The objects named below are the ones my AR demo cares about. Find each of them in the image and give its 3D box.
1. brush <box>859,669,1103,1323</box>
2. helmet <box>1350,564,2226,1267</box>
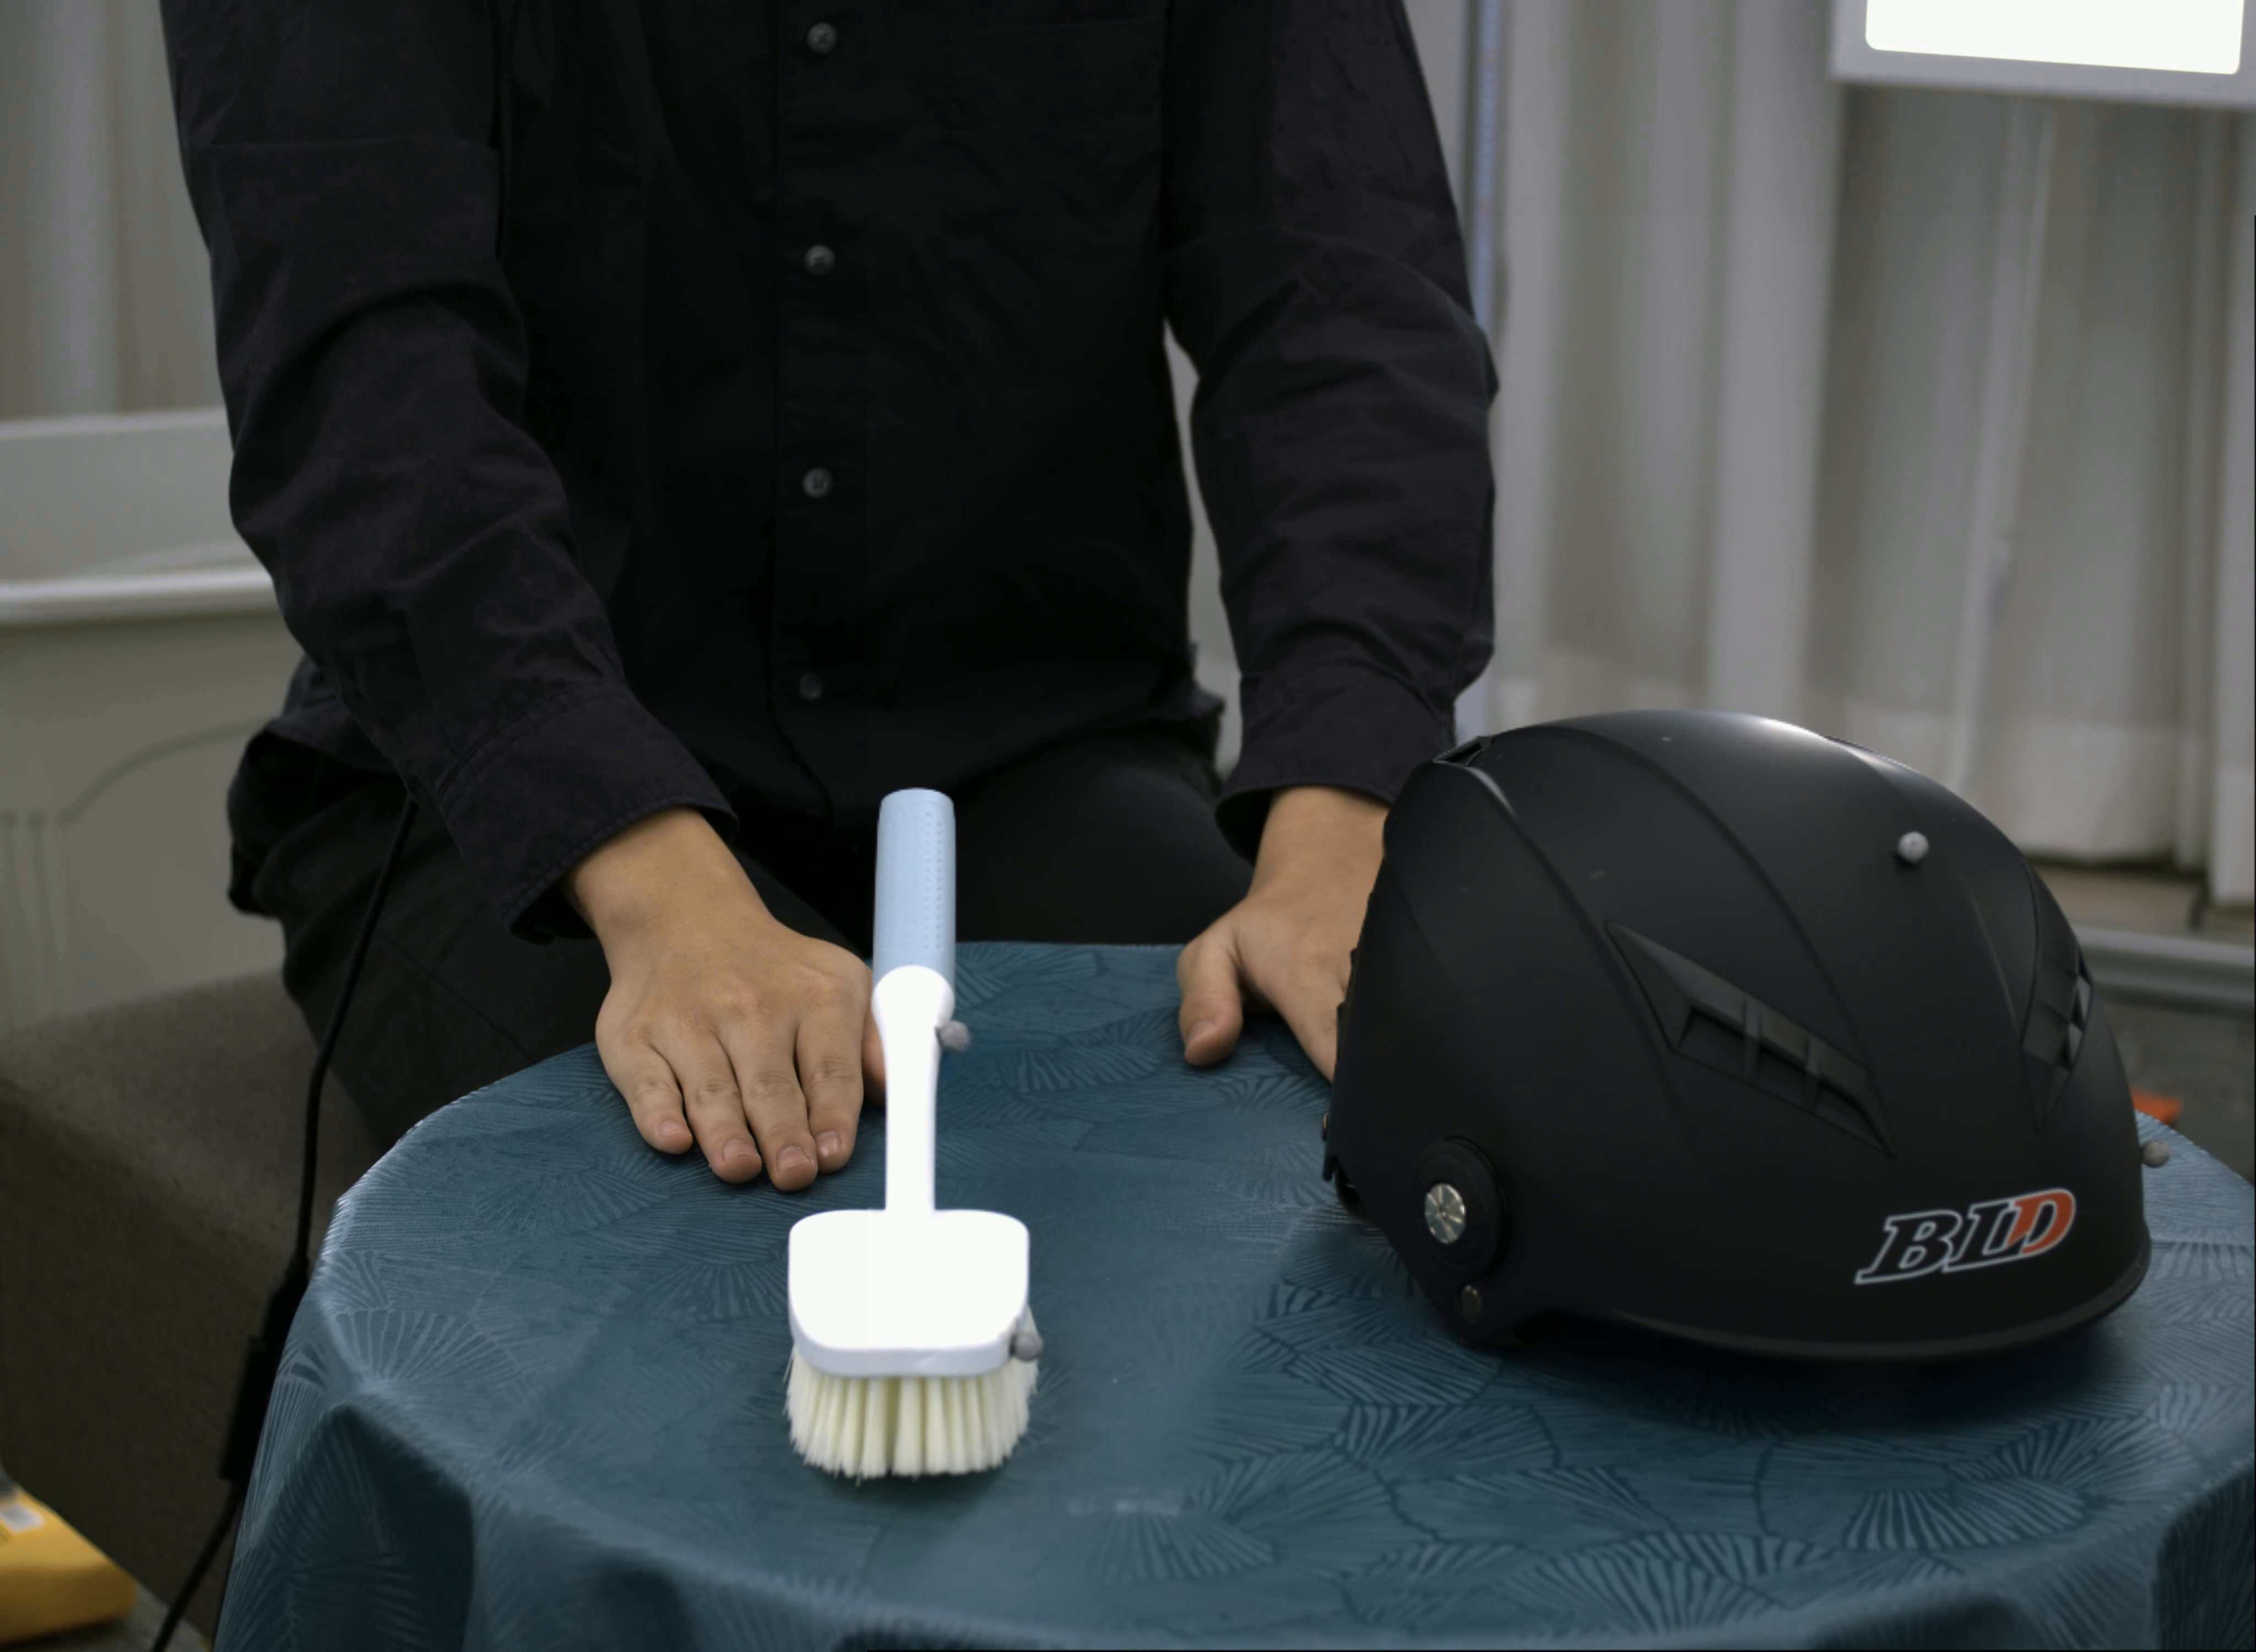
[{"bbox_3d":[-0.039,0.062,1.563,0.083,0.084,0.323,34,22,-17],"label":"brush"},{"bbox_3d":[0.196,0.016,1.583,0.247,0.174,0.273,-8,21,-24],"label":"helmet"}]
